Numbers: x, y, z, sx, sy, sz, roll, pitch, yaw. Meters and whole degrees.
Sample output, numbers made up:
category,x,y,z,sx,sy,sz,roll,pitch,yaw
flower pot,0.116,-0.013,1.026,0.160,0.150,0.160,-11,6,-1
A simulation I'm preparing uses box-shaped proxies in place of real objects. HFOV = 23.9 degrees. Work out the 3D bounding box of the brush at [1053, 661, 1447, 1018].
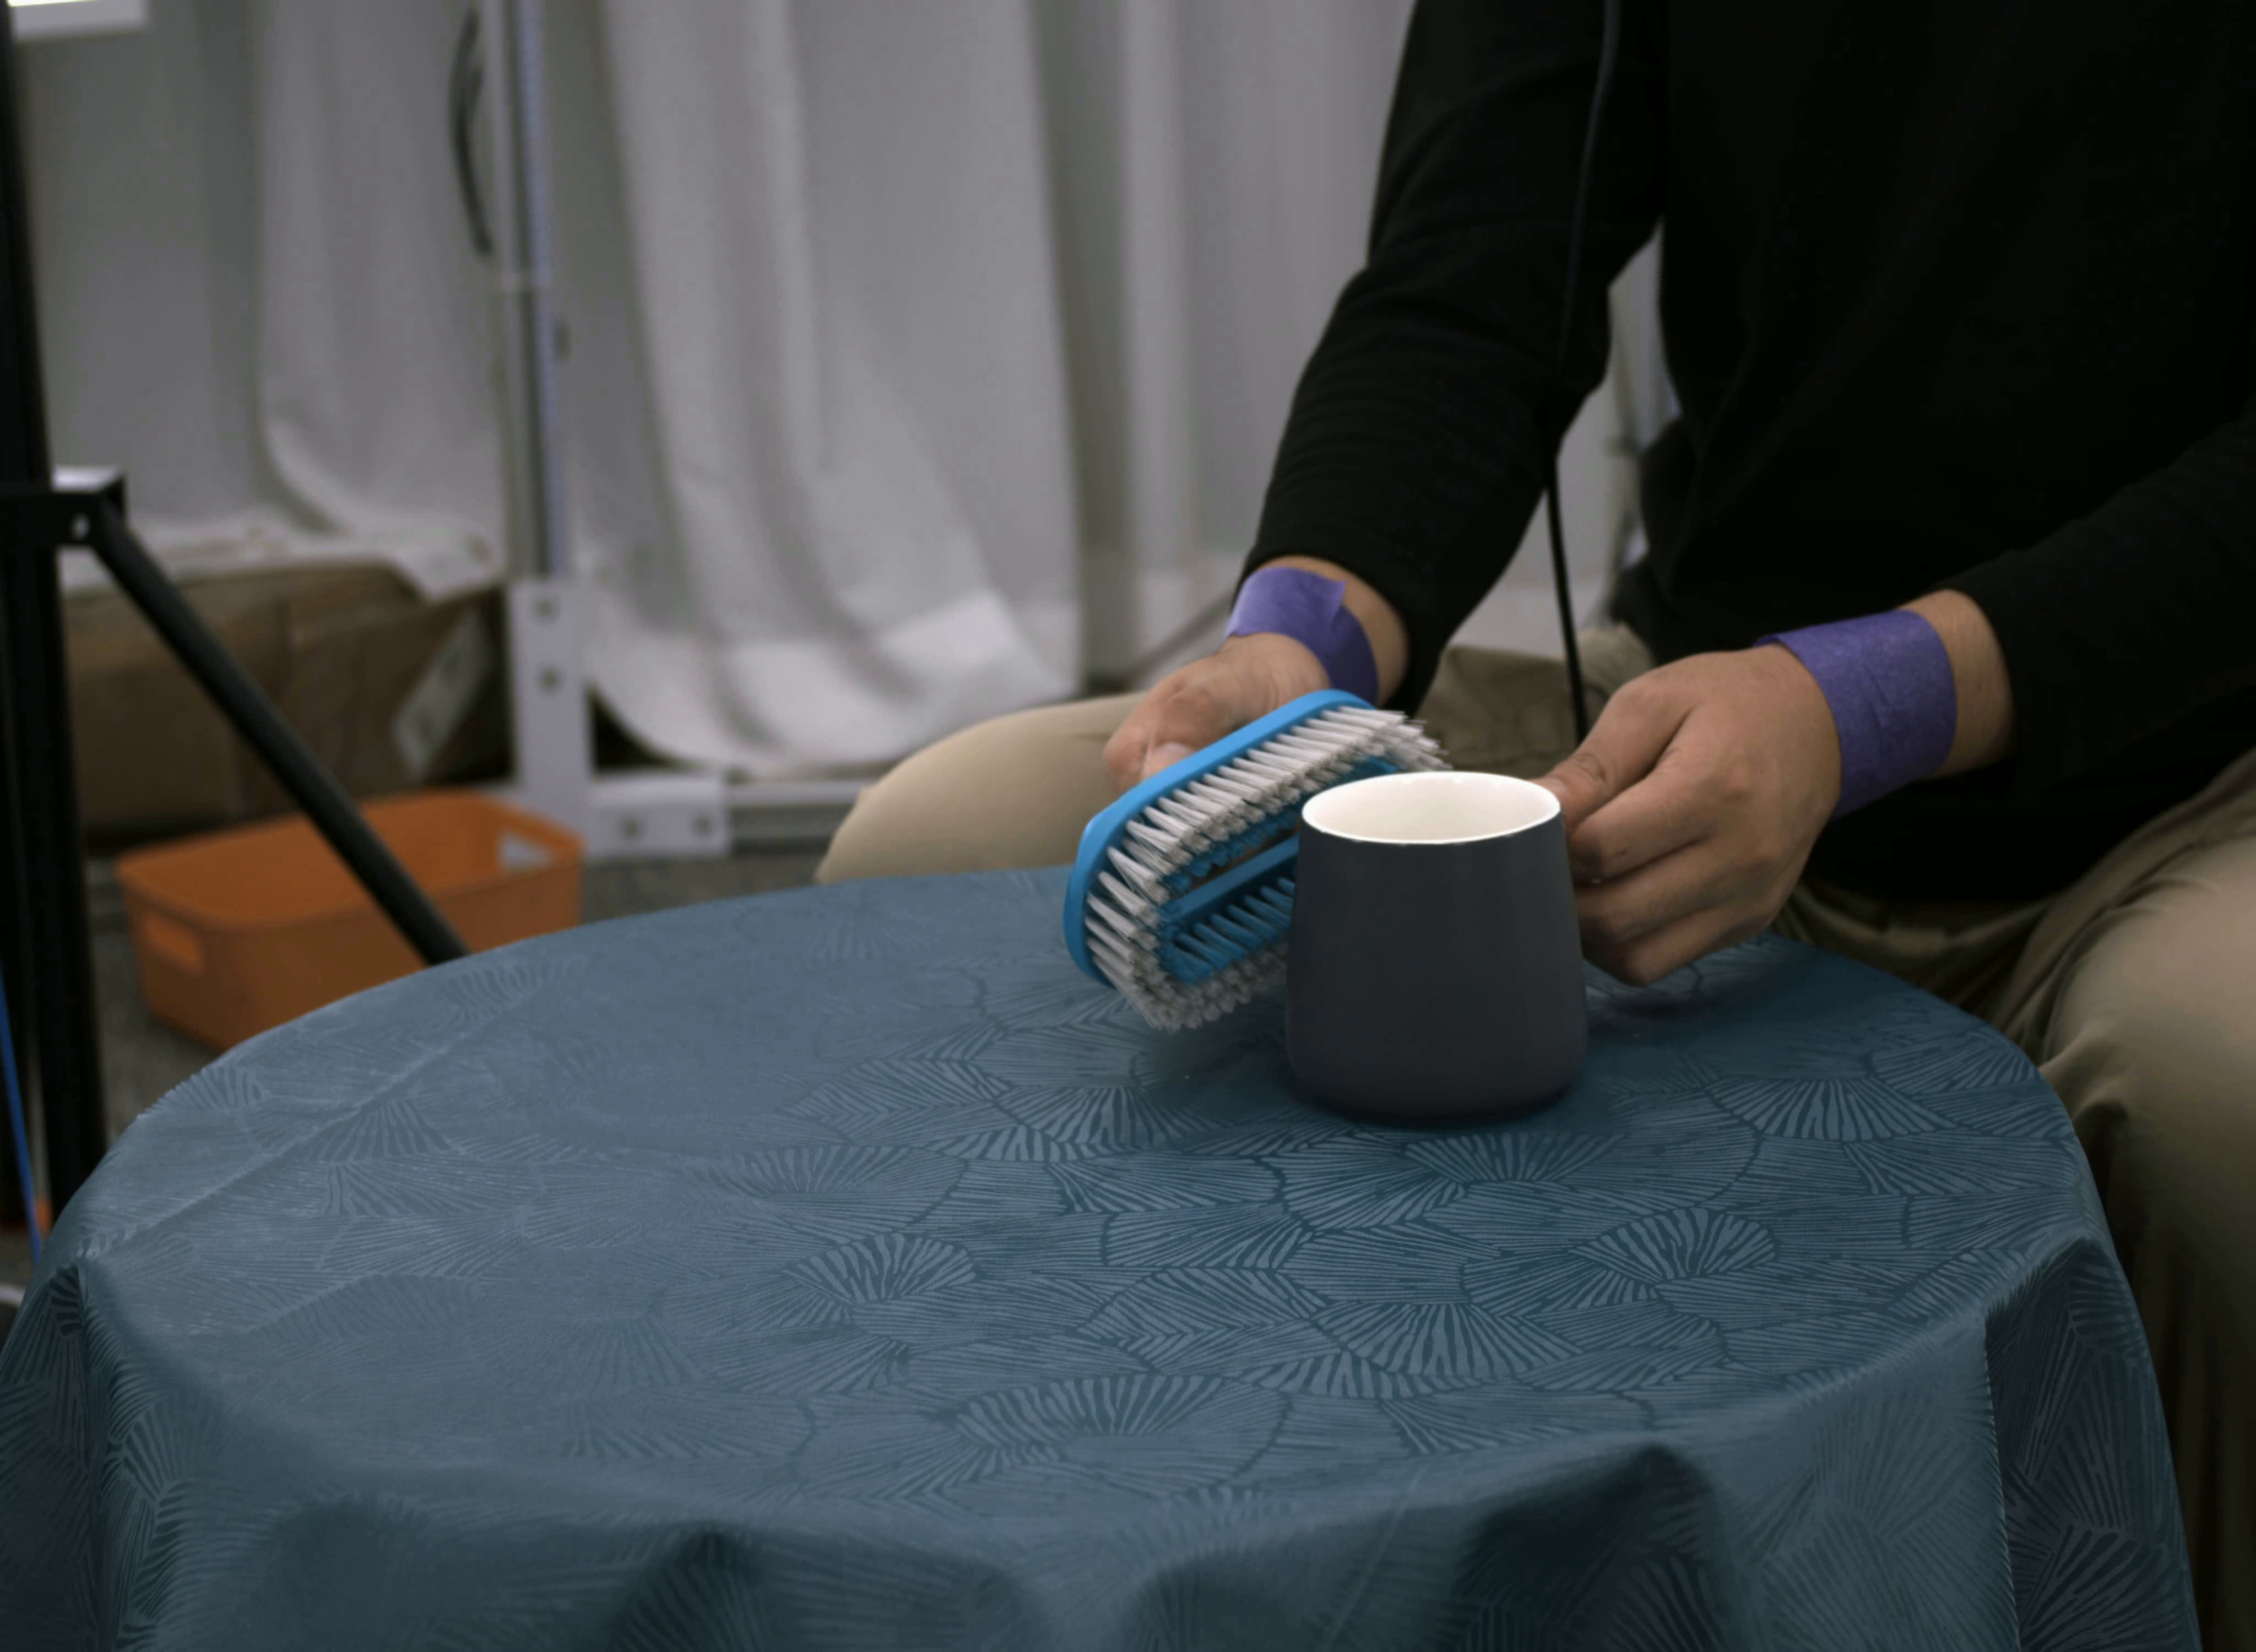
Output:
category,x,y,z,sx,sy,sz,roll,pitch,yaw
brush,0.030,-0.001,1.667,0.139,0.084,0.065,-28,37,-30

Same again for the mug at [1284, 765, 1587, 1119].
category,x,y,z,sx,sy,sz,roll,pitch,yaw
mug,0.103,0.032,1.638,0.095,0.090,0.121,11,22,37
